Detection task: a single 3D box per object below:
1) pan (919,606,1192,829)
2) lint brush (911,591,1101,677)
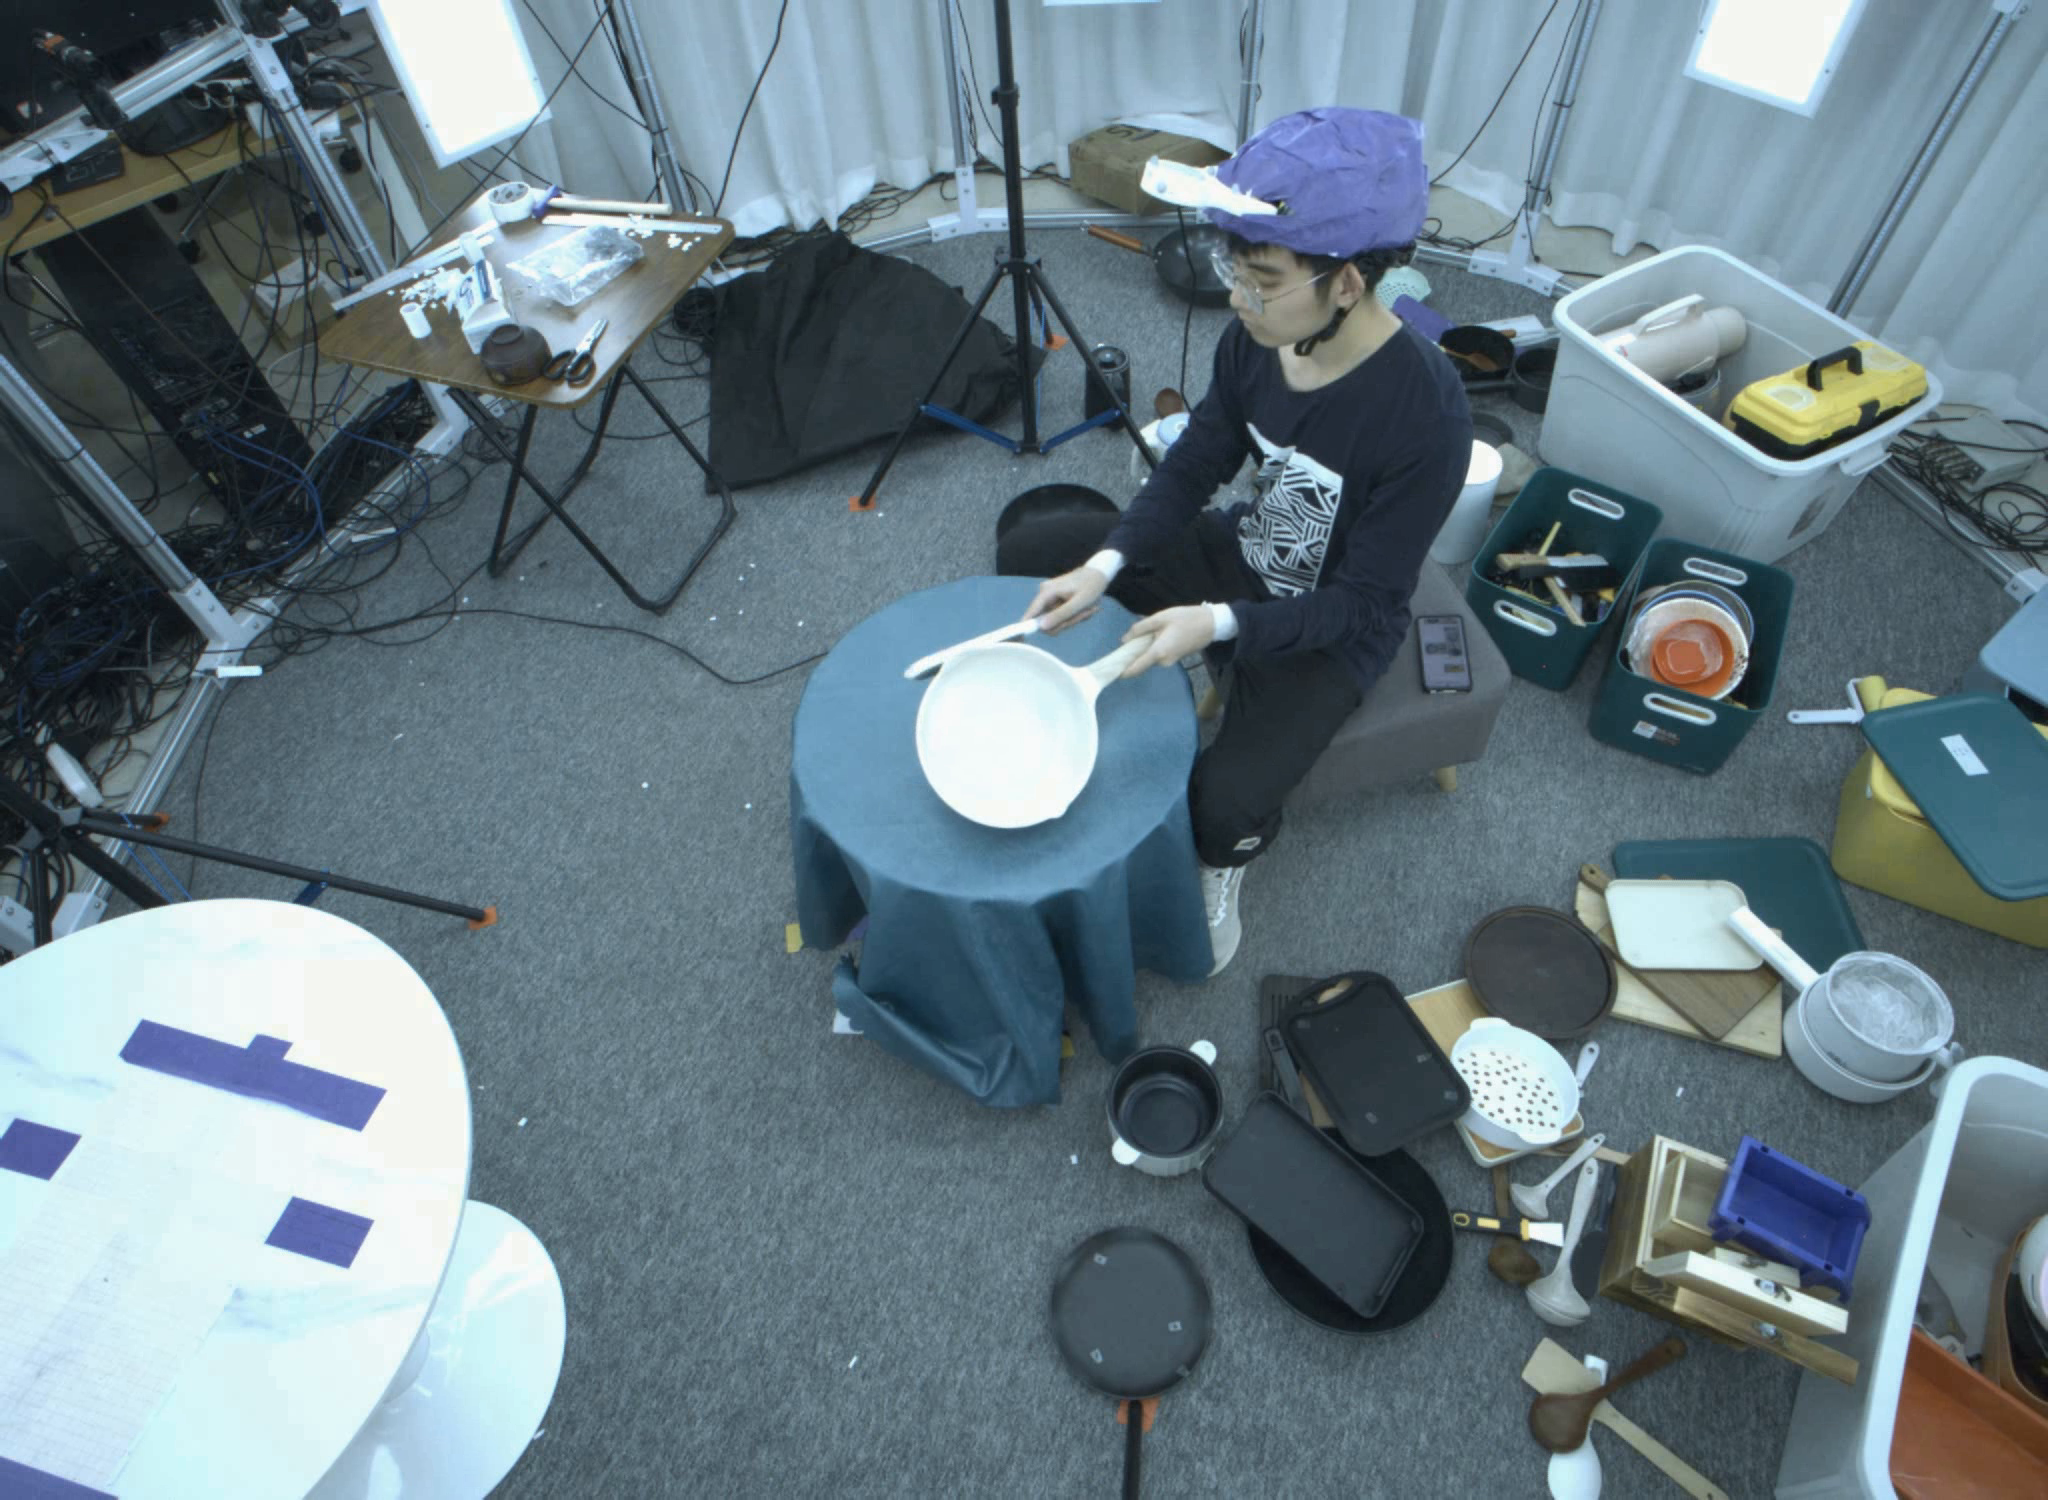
[{"bbox_3d":[0.050,-0.067,1.714,0.437,0.101,0.264,-35,93,-15],"label":"pan"},{"bbox_3d":[-0.021,-0.166,1.727,0.312,0.060,0.021,-24,80,-24],"label":"lint brush"}]
